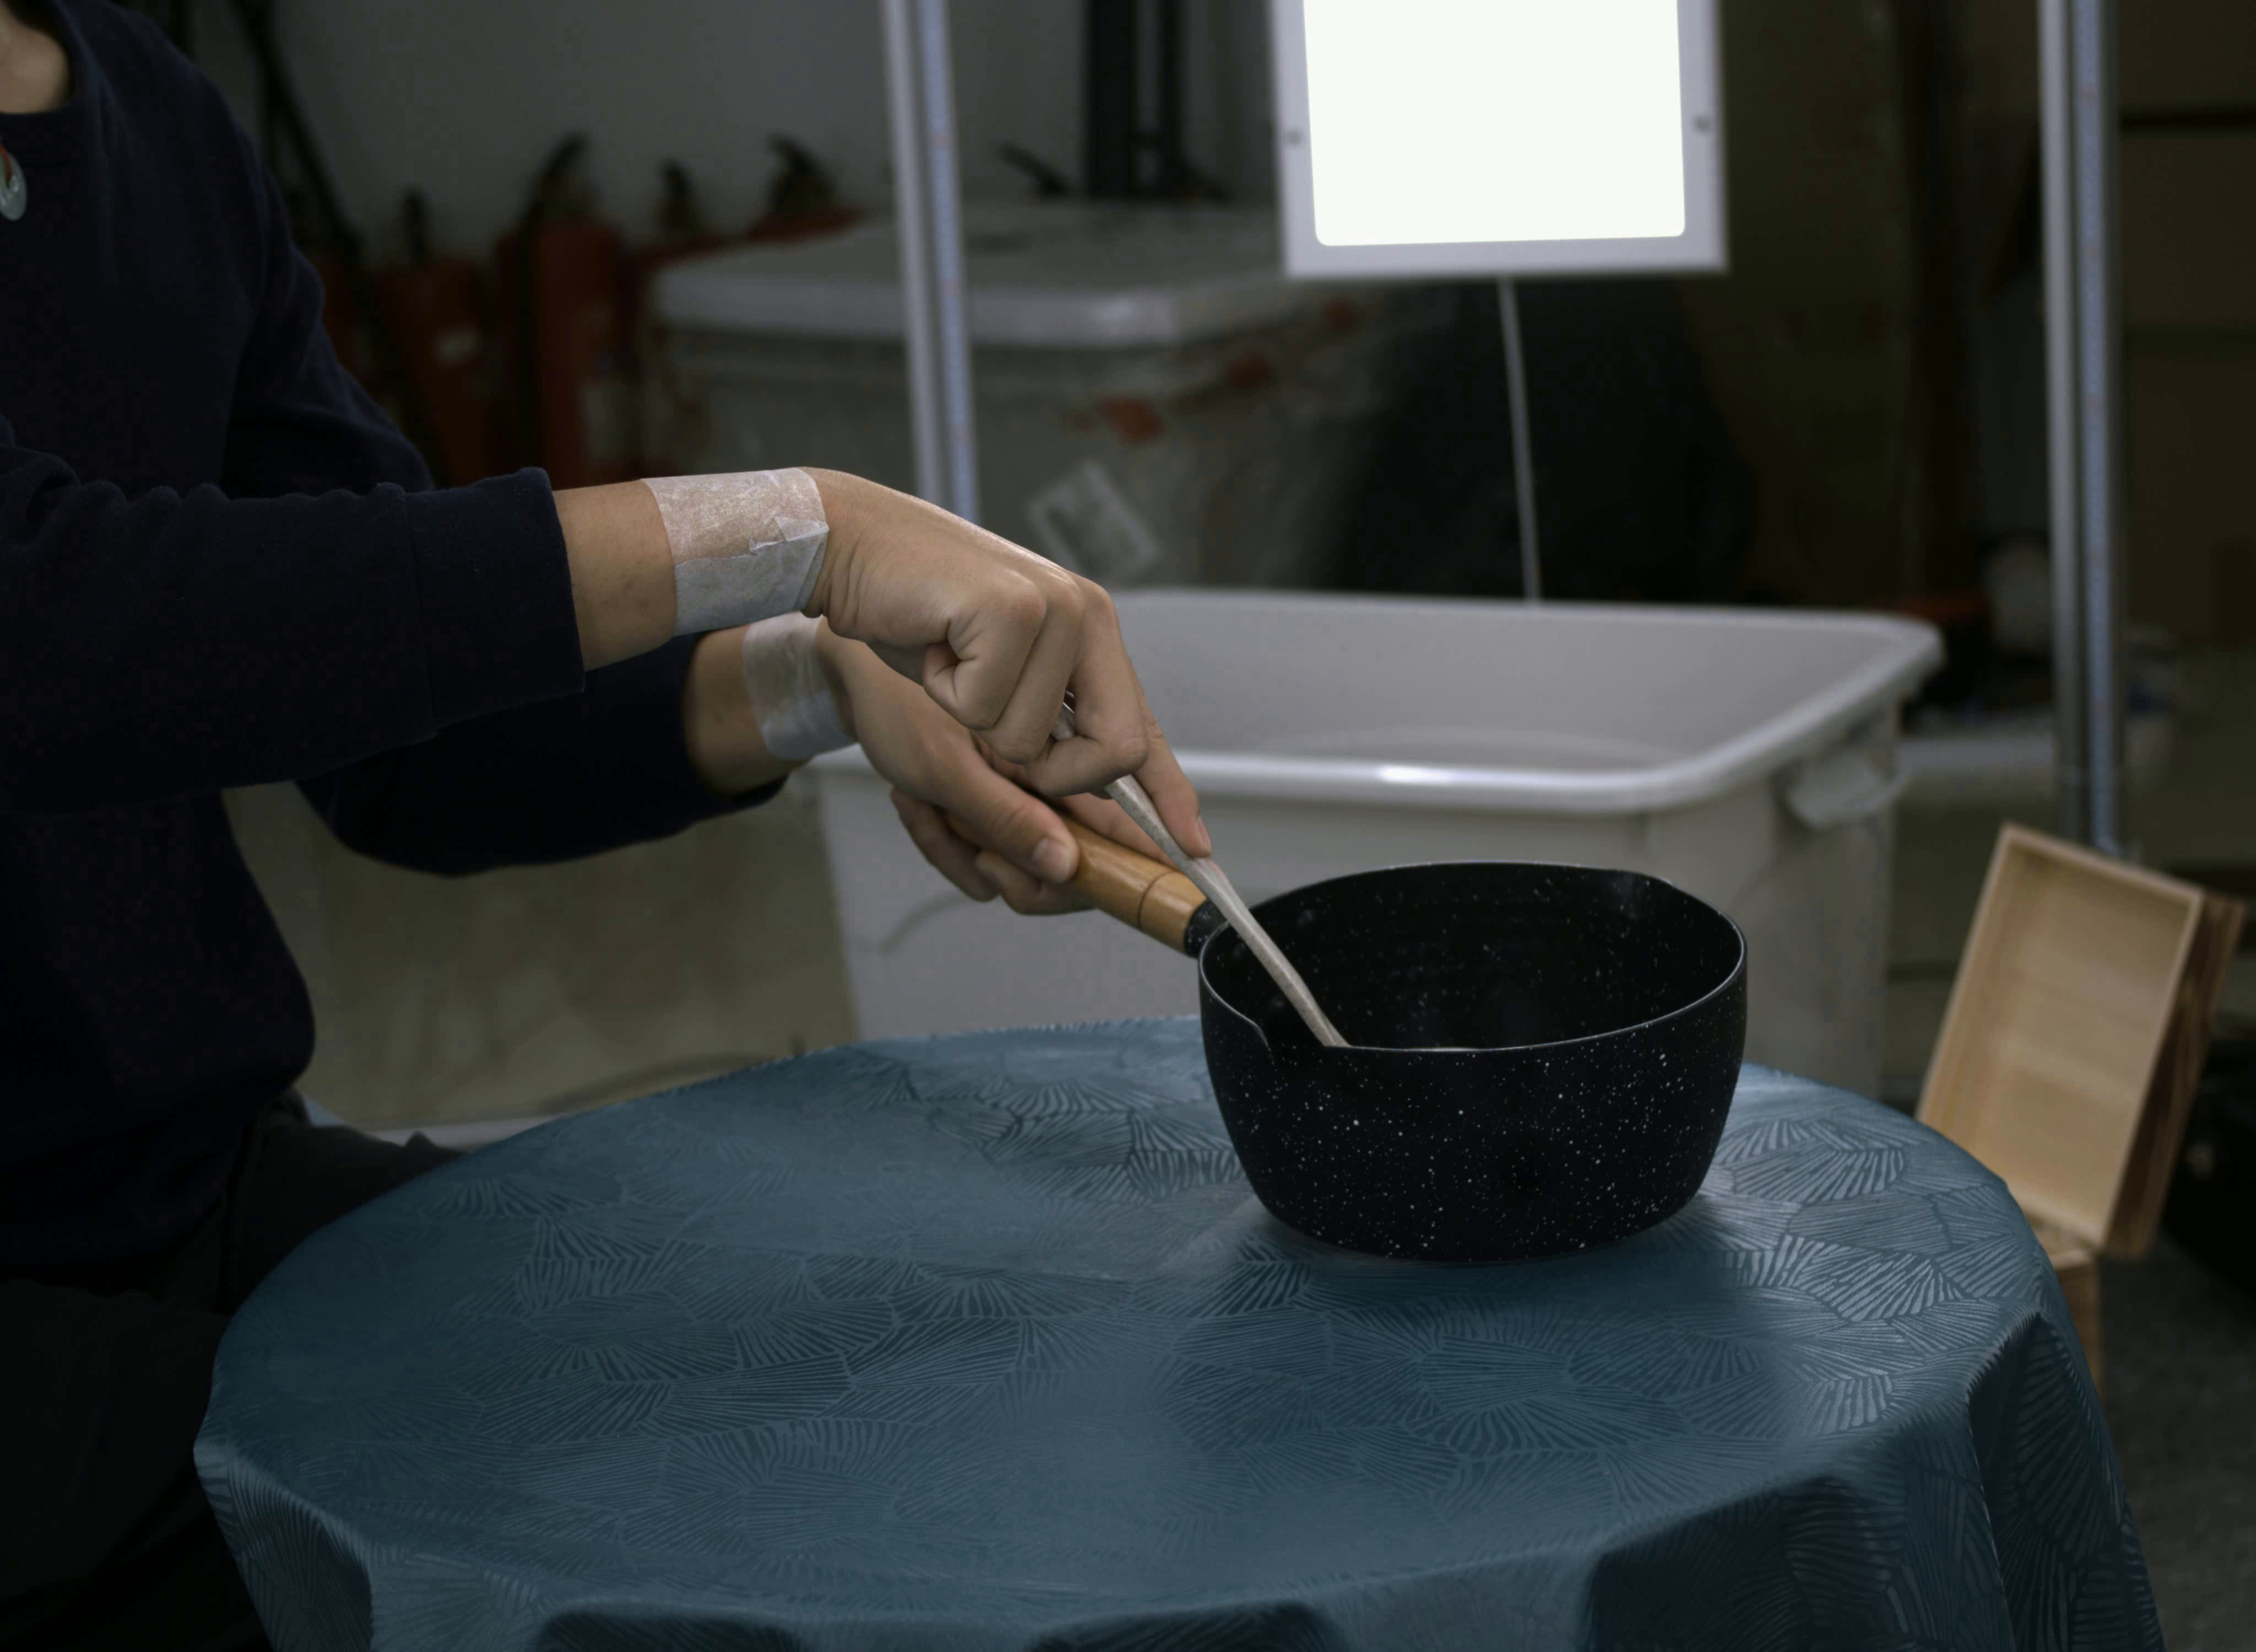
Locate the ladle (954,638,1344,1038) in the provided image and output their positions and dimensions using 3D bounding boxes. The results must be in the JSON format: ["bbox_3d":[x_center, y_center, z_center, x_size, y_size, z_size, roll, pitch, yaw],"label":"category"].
[{"bbox_3d":[0.051,0.021,1.785,0.070,0.272,0.089,-33,25,14],"label":"ladle"}]

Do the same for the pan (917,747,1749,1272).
[{"bbox_3d":[0.056,0.056,1.892,0.350,0.109,0.202,14,27,40],"label":"pan"}]
